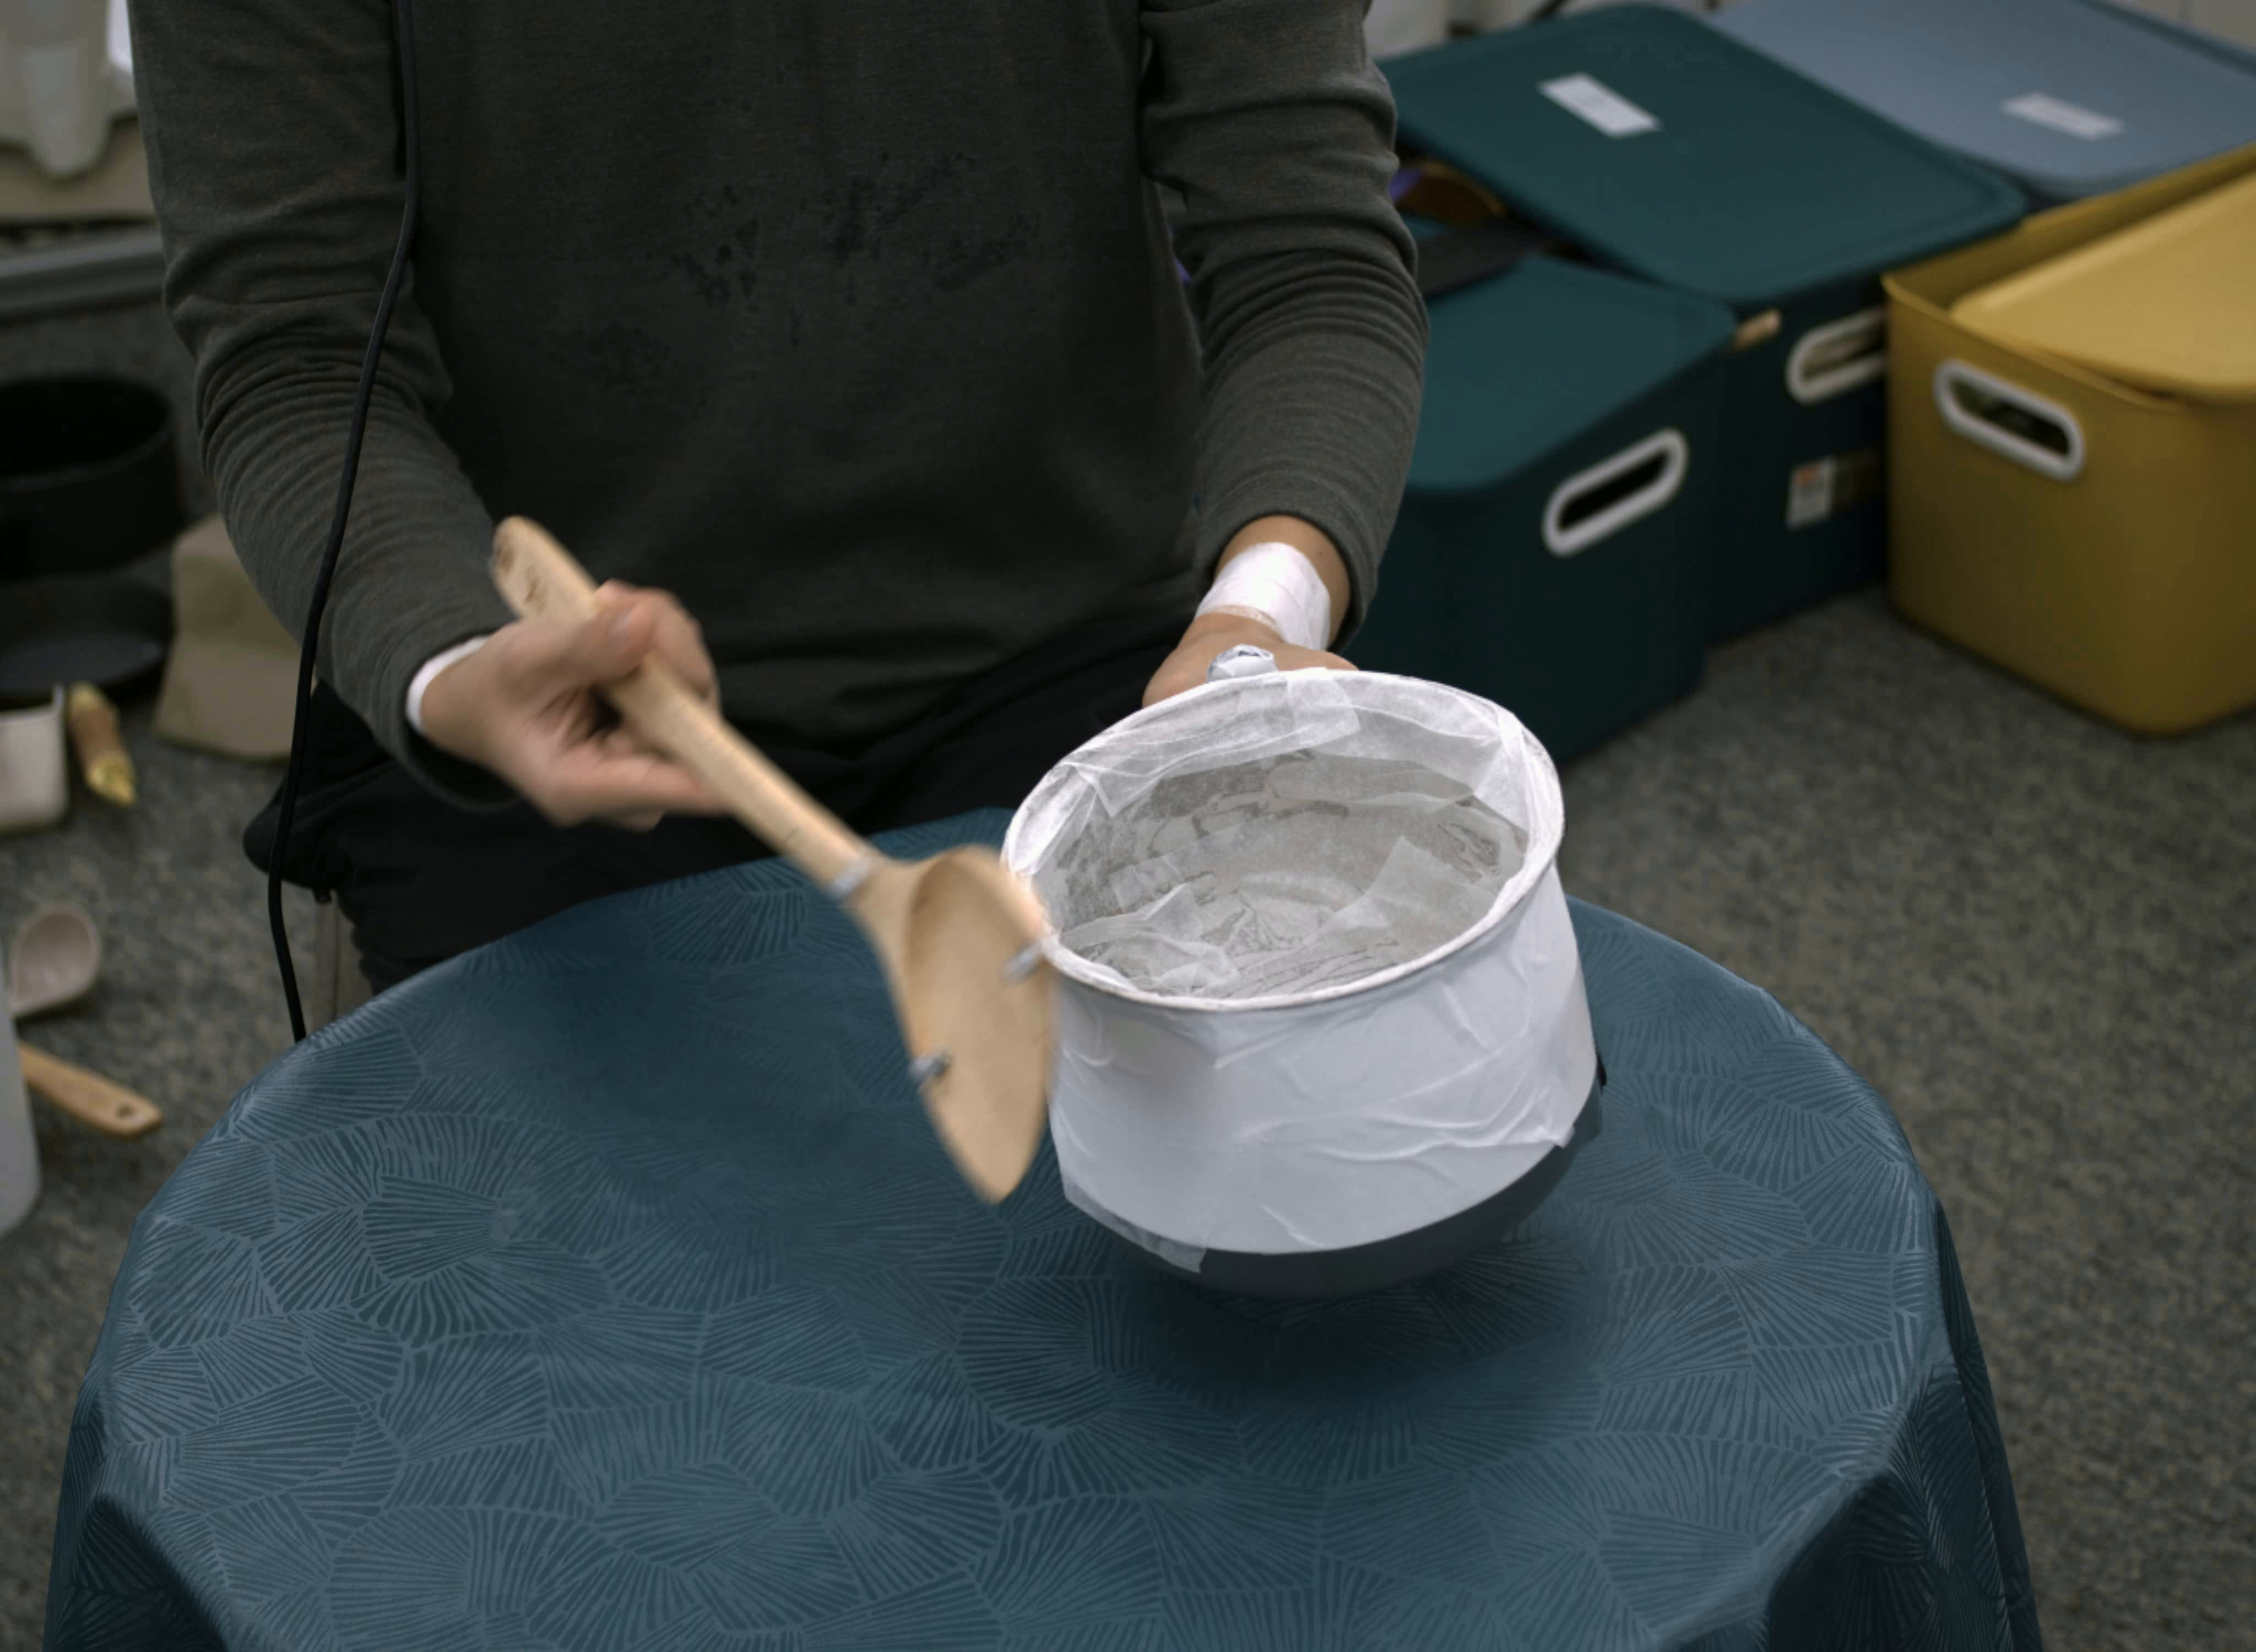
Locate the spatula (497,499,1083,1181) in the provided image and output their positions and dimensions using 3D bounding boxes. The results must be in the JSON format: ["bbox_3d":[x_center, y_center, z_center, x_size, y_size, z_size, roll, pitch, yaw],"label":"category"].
[{"bbox_3d":[-0.114,-0.015,1.768,0.018,0.095,0.392,-3,27,-35],"label":"spatula"}]

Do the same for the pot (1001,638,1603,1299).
[{"bbox_3d":[0.053,0.036,1.793,0.178,0.135,0.237,-11,34,-1],"label":"pot"}]
